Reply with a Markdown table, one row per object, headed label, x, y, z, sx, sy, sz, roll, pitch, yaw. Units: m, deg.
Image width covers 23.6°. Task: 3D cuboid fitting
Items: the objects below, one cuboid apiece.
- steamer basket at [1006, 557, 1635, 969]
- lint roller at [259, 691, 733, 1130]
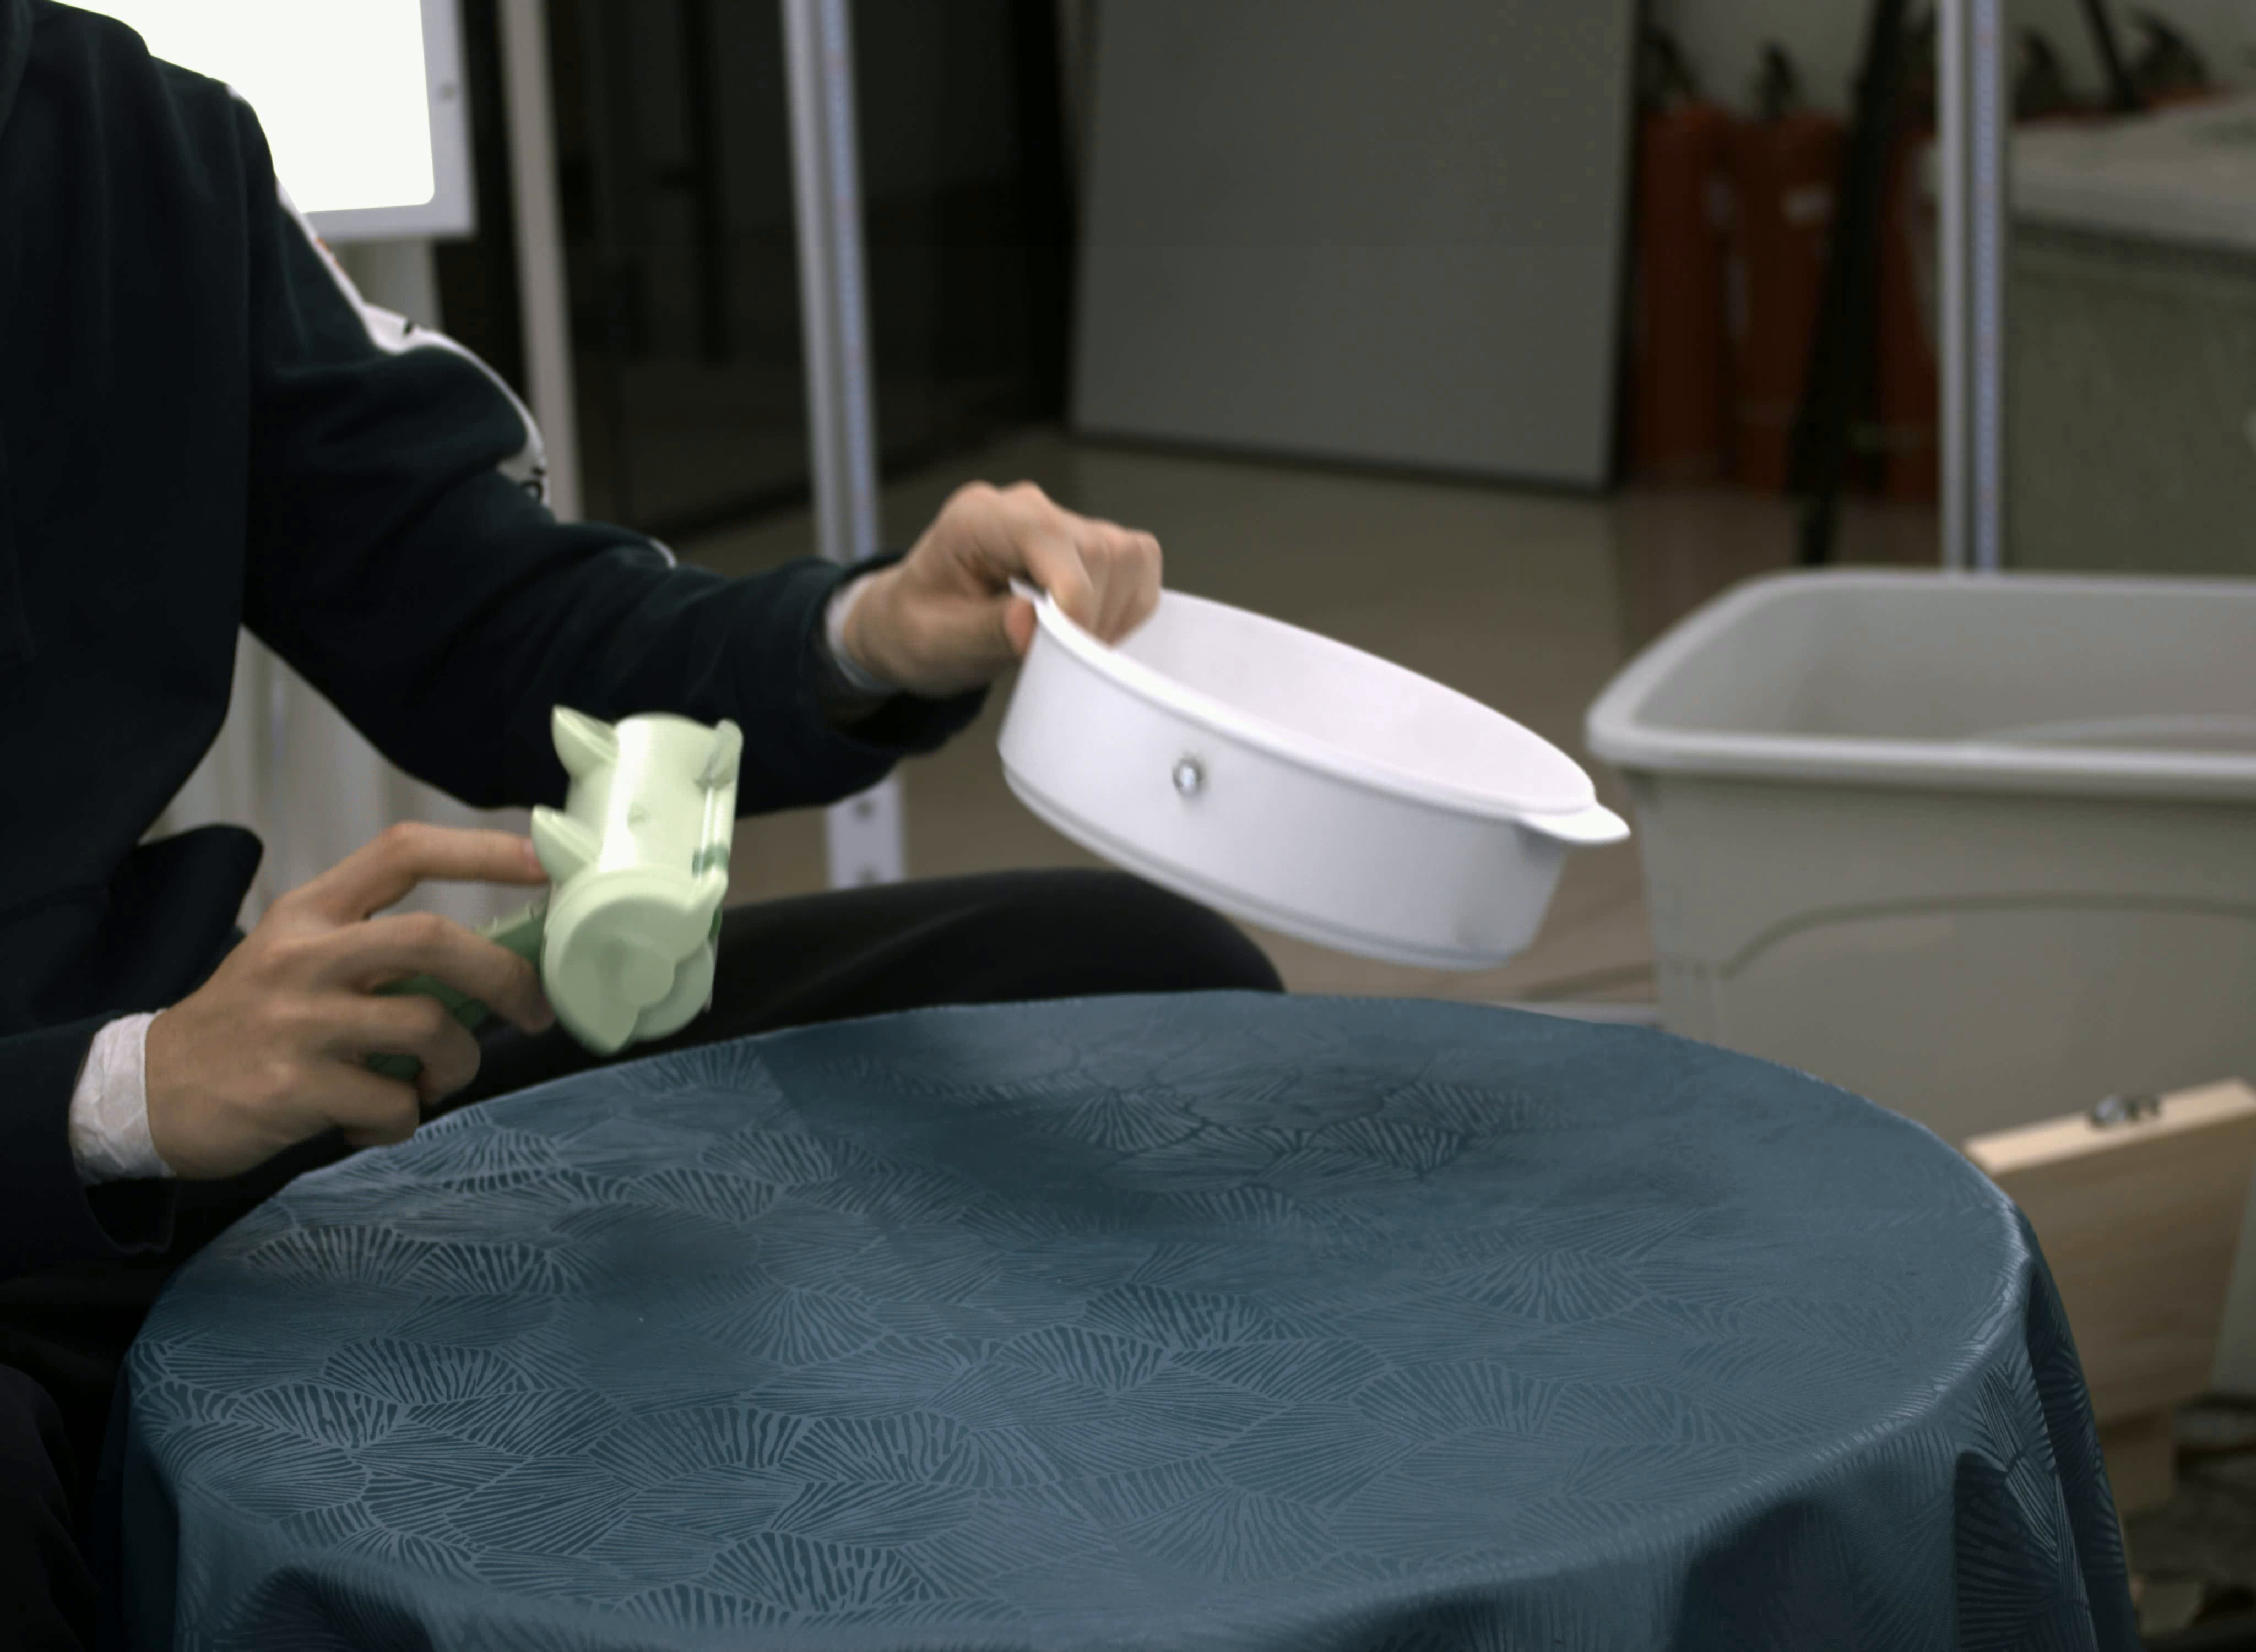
| label | x | y | z | sx | sy | sz | roll | pitch | yaw |
| --- | --- | --- | --- | --- | --- | --- | --- | --- | --- |
| steamer basket | 0.056 | -0.019 | 1.807 | 0.231 | 0.070 | 0.199 | 26 | 13 | 22 |
| lint roller | -0.207 | 0.027 | 1.722 | 0.182 | 0.082 | 0.199 | -25 | 16 | 4 |
